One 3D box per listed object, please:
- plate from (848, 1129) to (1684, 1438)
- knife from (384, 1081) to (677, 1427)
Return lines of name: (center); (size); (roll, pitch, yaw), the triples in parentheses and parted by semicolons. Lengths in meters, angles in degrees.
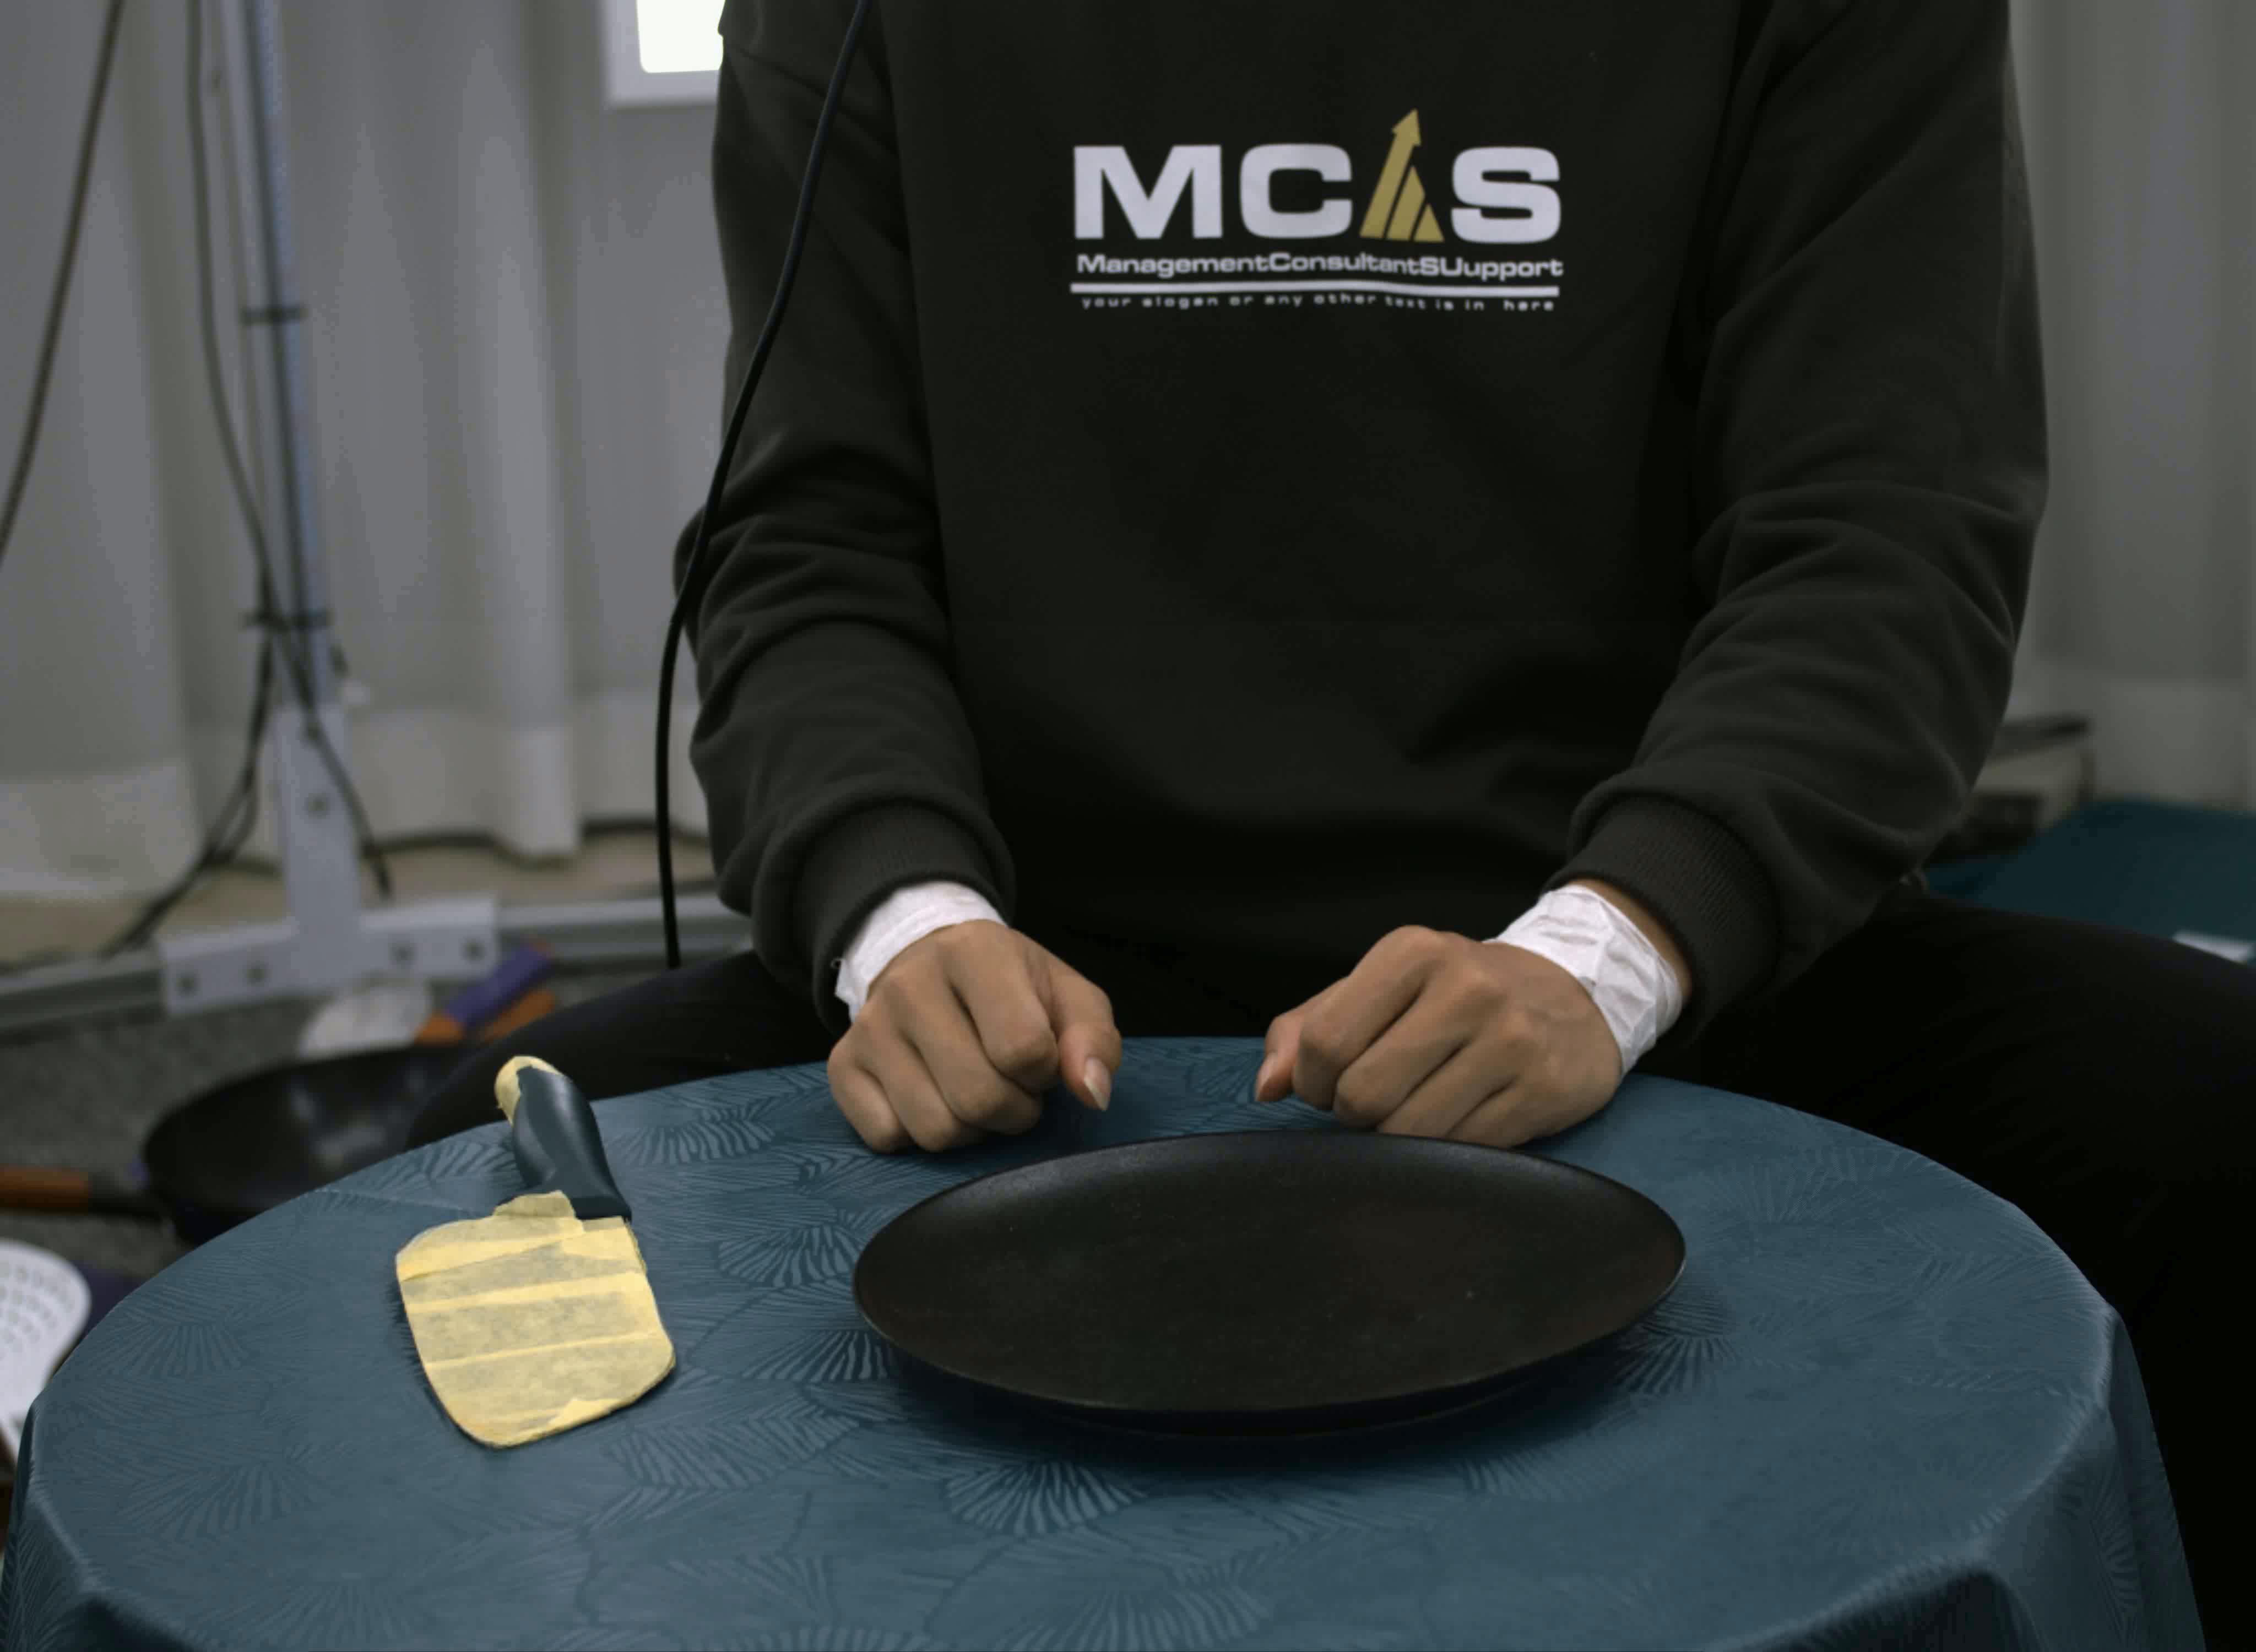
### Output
plate: (0.040, 0.135, 1.587); (0.243, 0.023, 0.246); (-3, 15, 0)
knife: (-0.185, 0.130, 1.667); (0.080, 0.027, 0.292); (-3, 15, -9)
